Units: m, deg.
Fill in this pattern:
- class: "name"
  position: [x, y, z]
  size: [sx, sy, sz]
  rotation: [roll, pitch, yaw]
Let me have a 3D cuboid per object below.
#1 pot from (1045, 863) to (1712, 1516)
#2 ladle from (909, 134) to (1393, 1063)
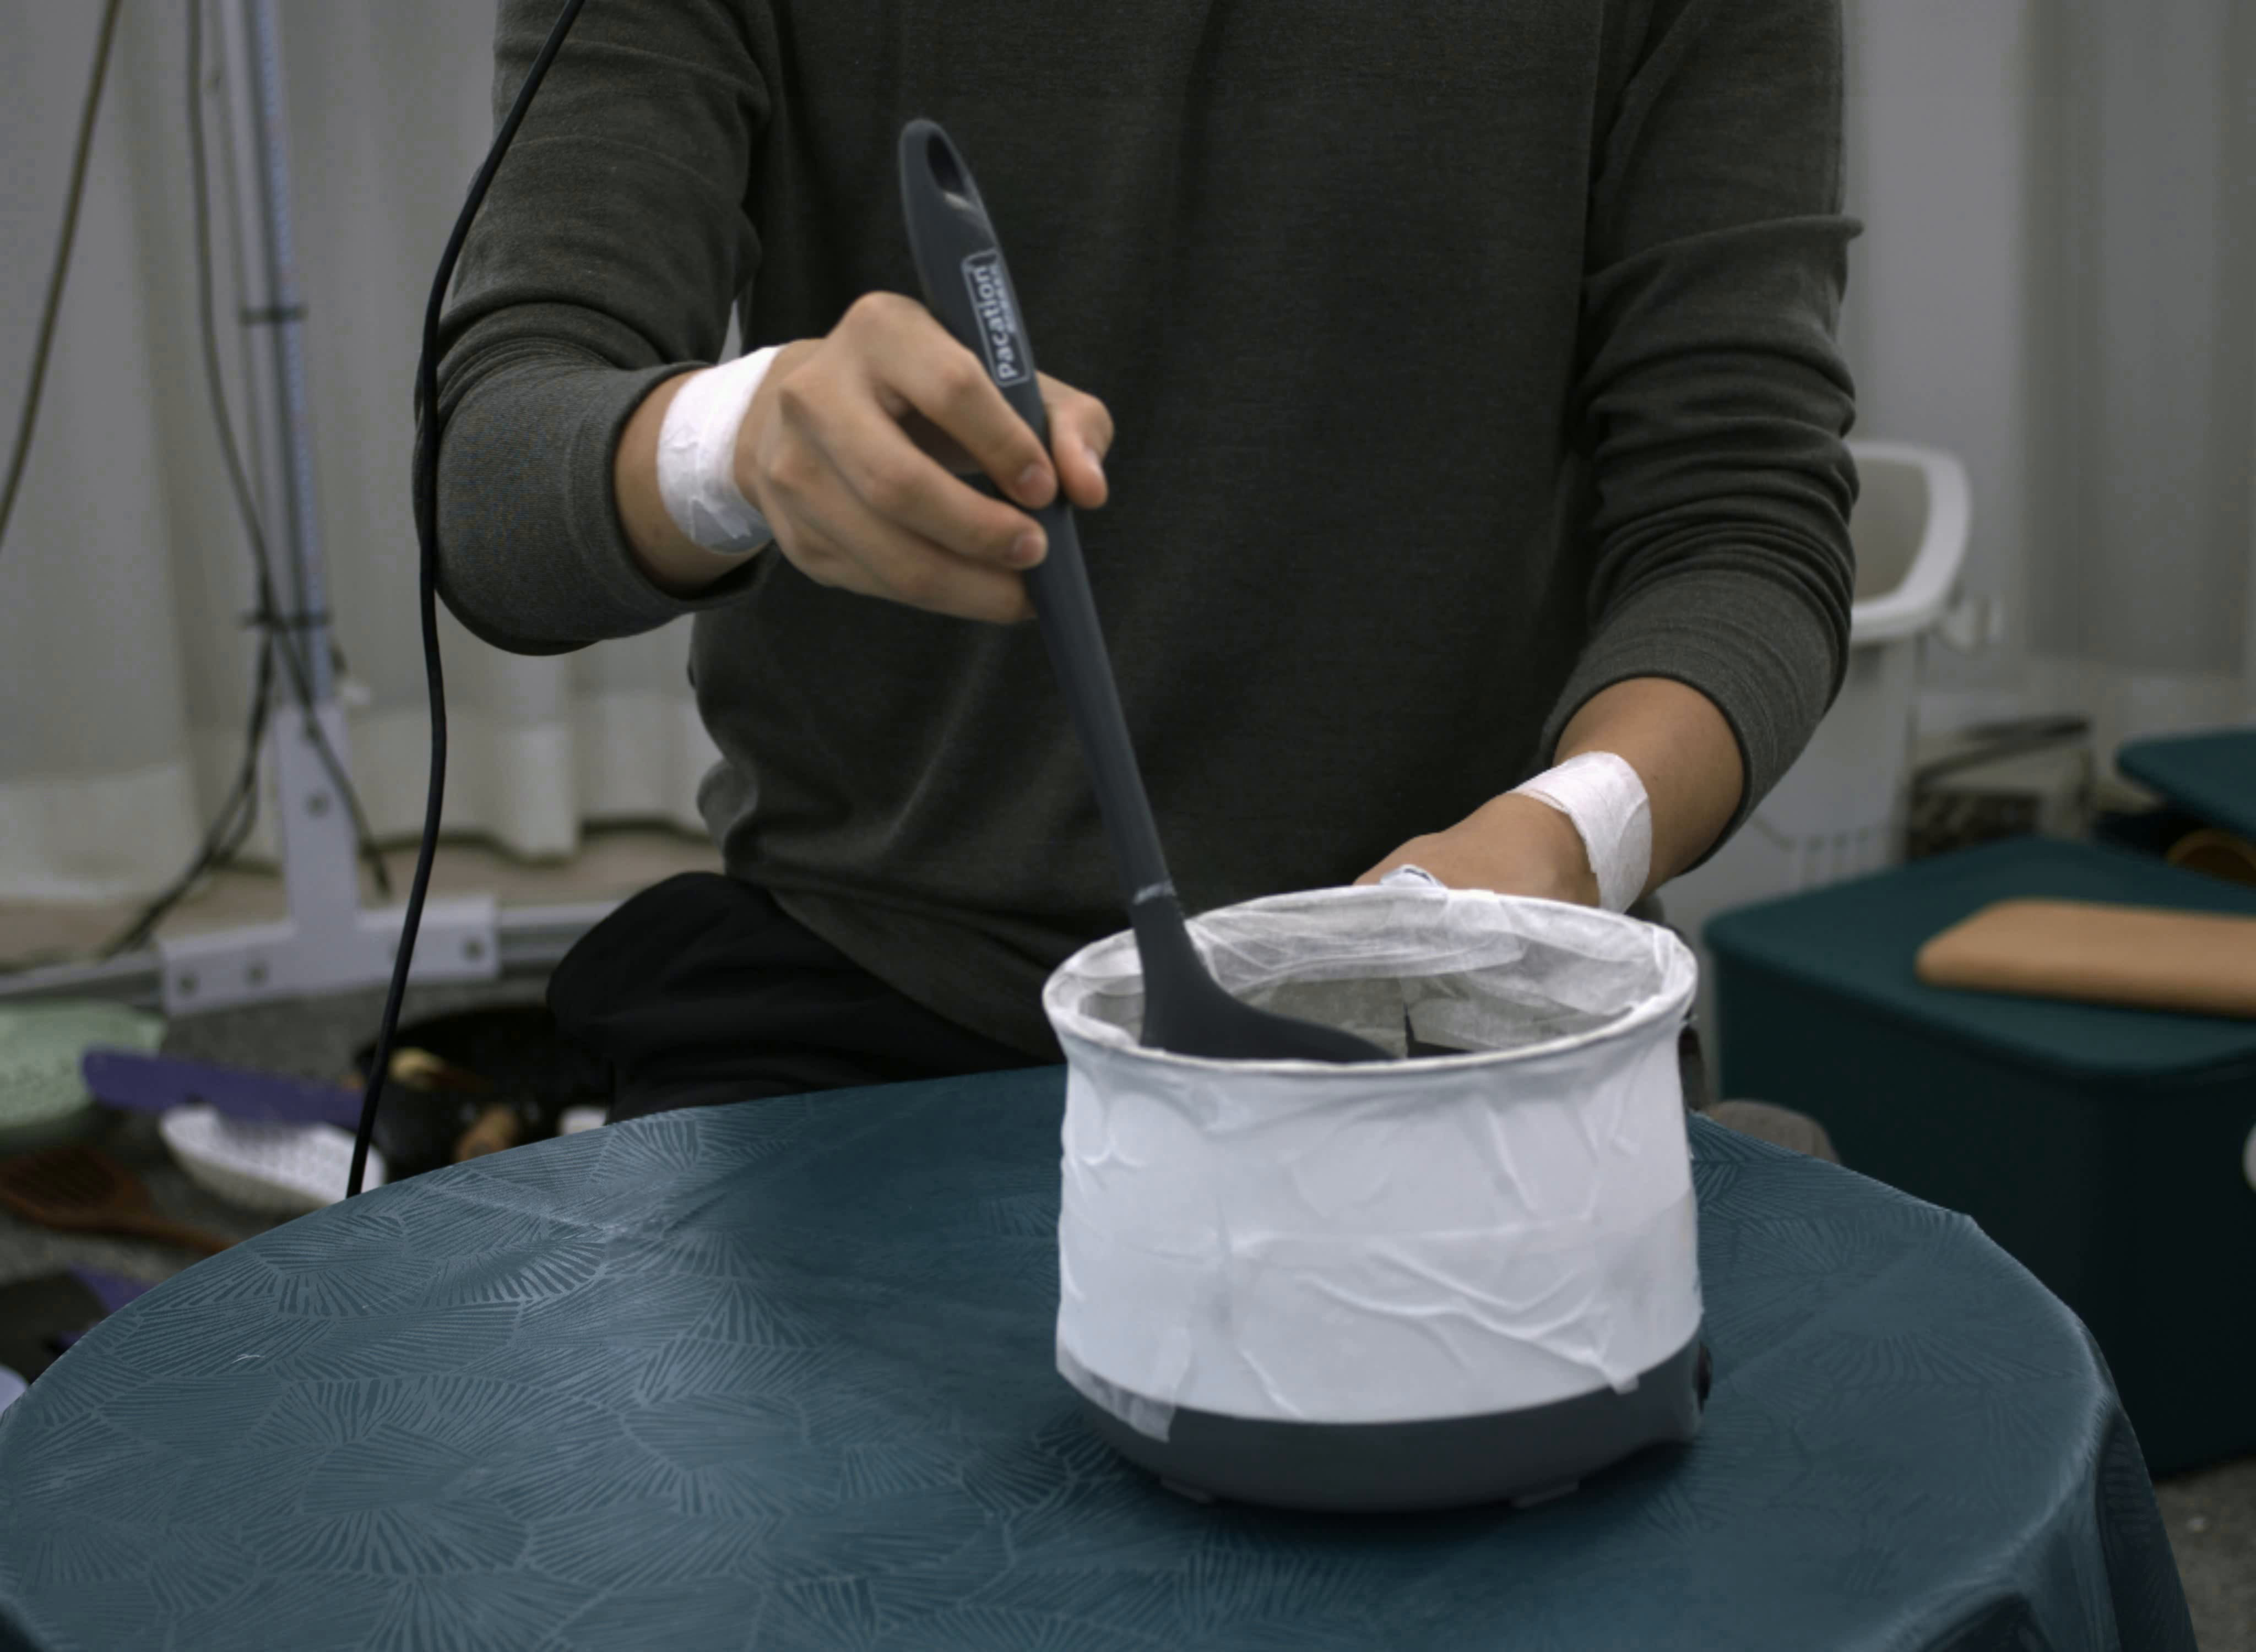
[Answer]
- class: "pot"
  position: [0.072, 0.095, 1.513]
  size: [0.178, 0.136, 0.235]
  rotation: [0, 14, 9]
- class: "ladle"
  position: [0.005, -0.041, 1.473]
  size: [0.086, 0.315, 0.064]
  rotation: [-17, 1, -42]
